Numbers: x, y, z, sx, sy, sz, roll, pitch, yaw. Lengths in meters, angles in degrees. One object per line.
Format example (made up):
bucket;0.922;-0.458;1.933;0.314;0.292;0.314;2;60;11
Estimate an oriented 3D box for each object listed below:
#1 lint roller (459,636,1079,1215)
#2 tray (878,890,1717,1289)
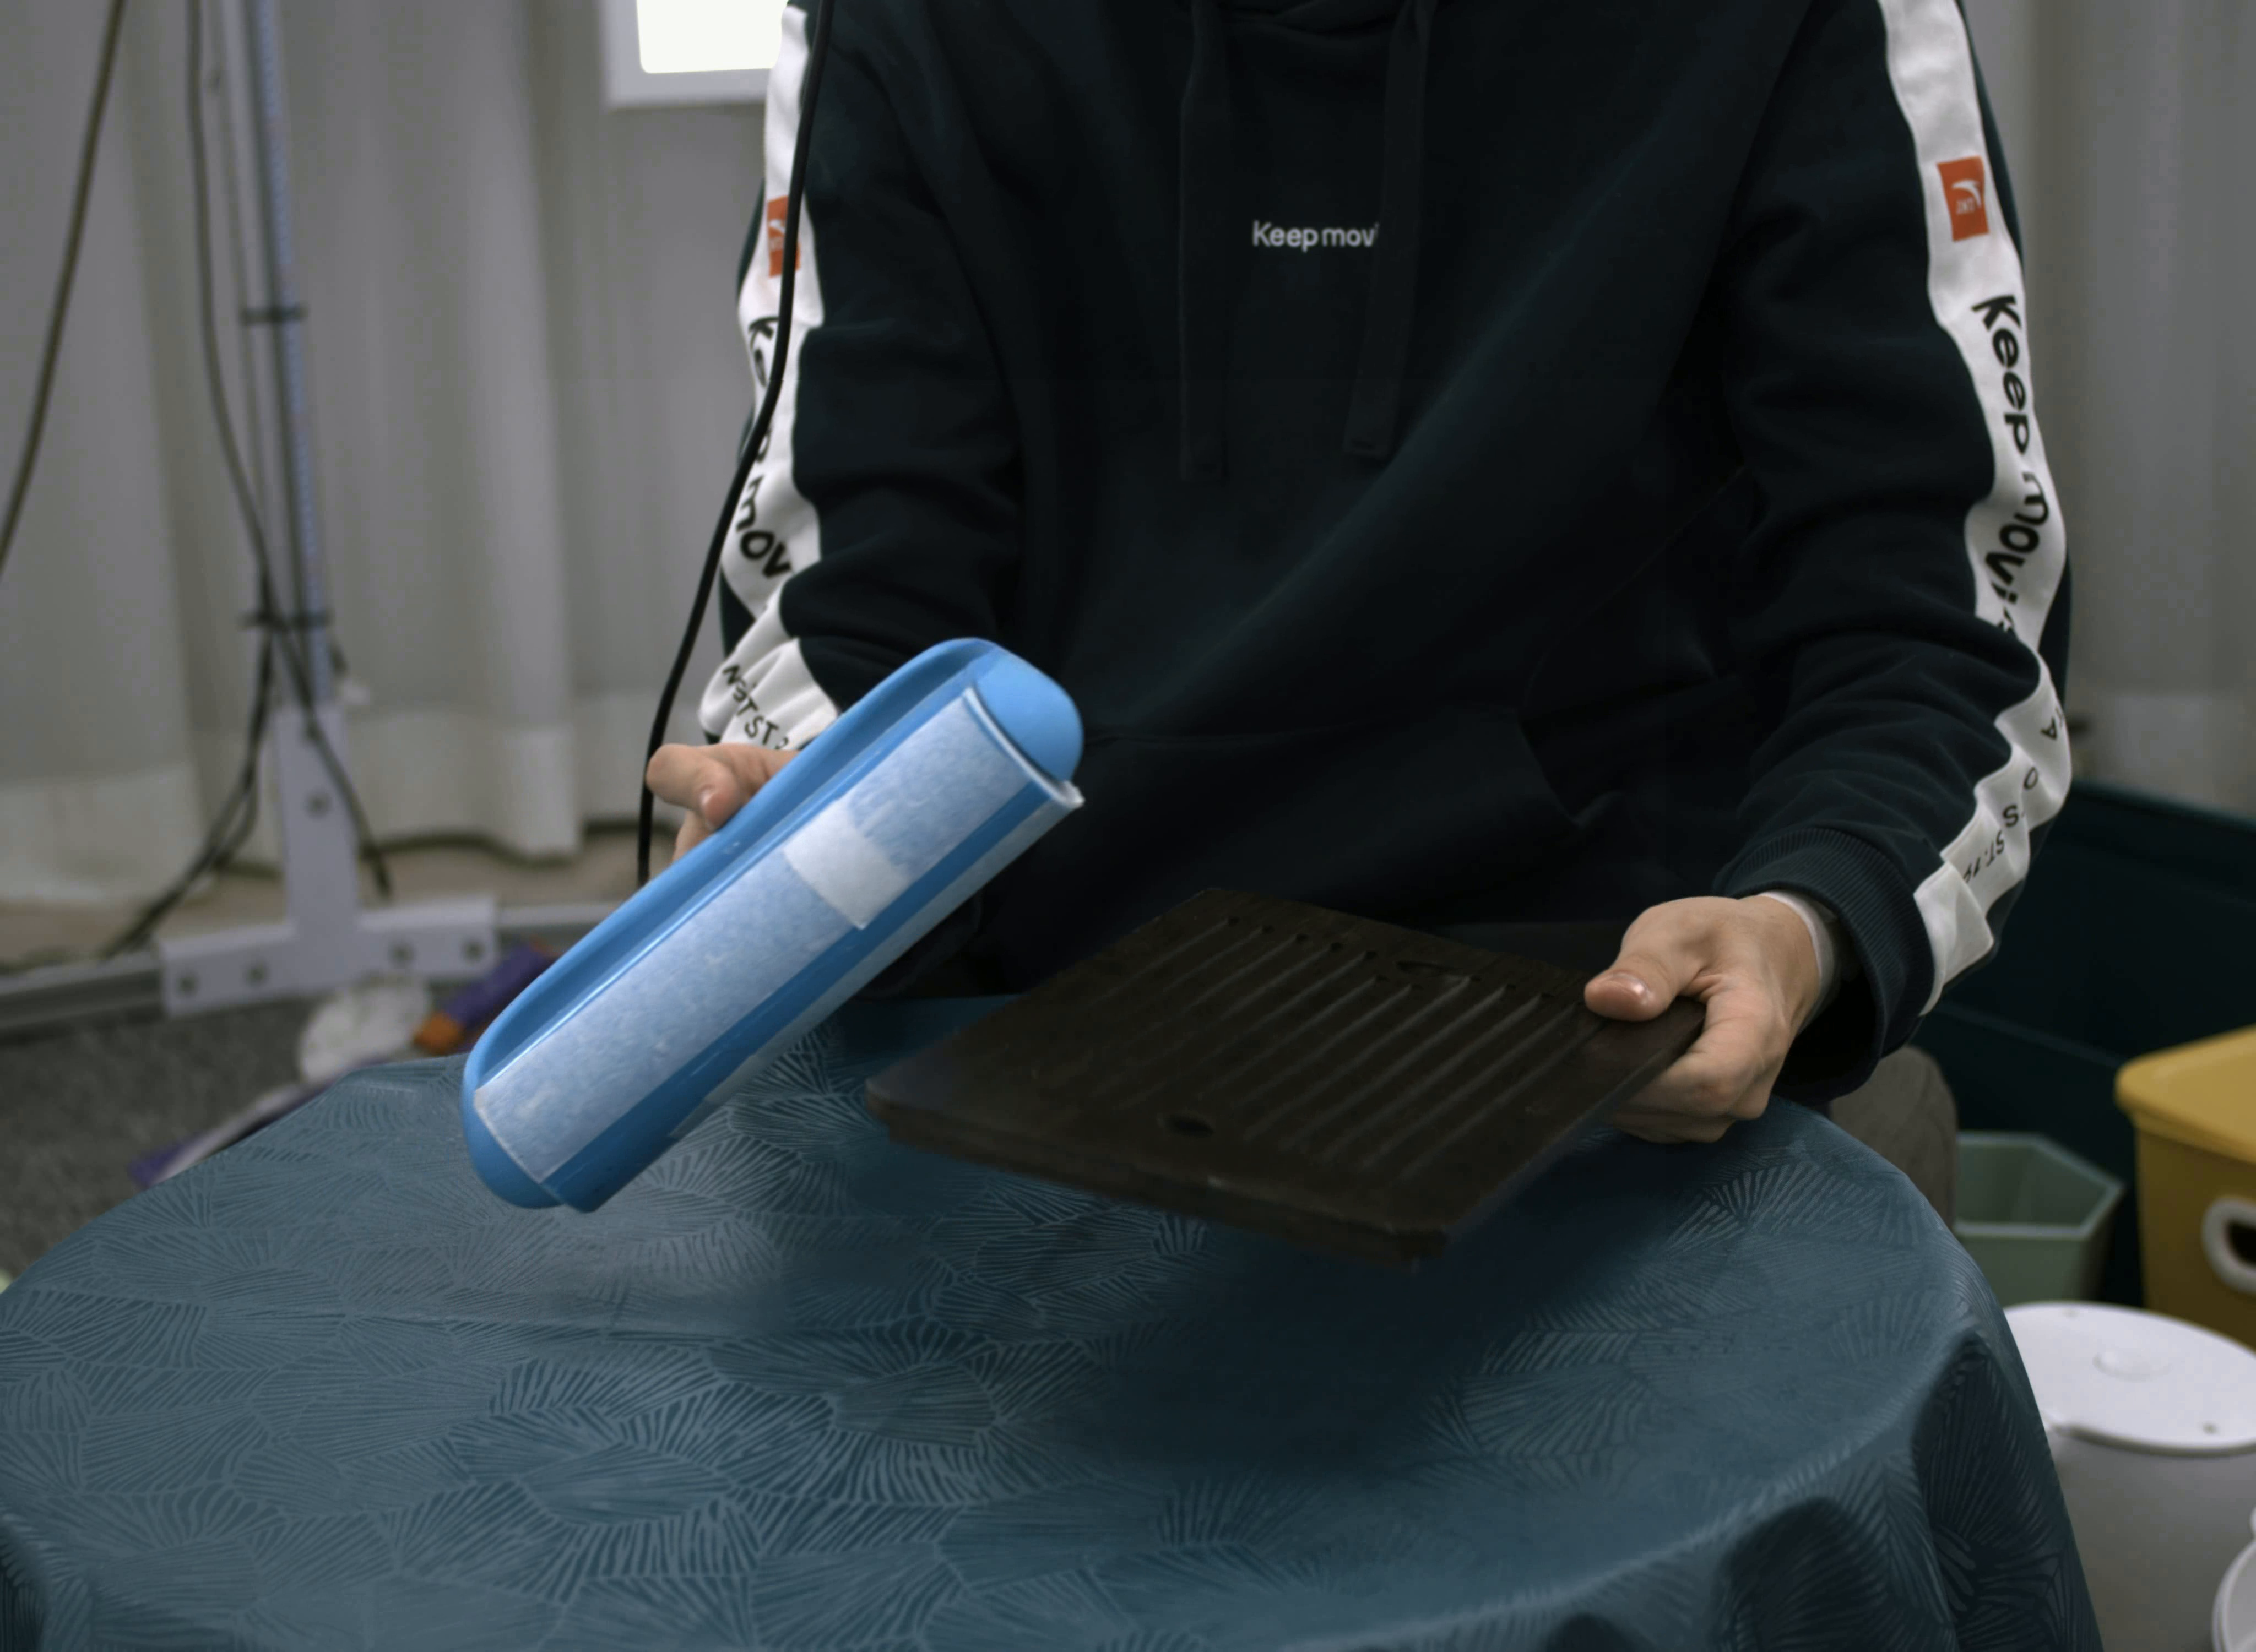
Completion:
lint roller;-0.106;0.025;1.678;0.228;0.068;0.181;-42;6;5
tray;0.057;0.073;1.594;0.170;0.018;0.306;13;15;17
